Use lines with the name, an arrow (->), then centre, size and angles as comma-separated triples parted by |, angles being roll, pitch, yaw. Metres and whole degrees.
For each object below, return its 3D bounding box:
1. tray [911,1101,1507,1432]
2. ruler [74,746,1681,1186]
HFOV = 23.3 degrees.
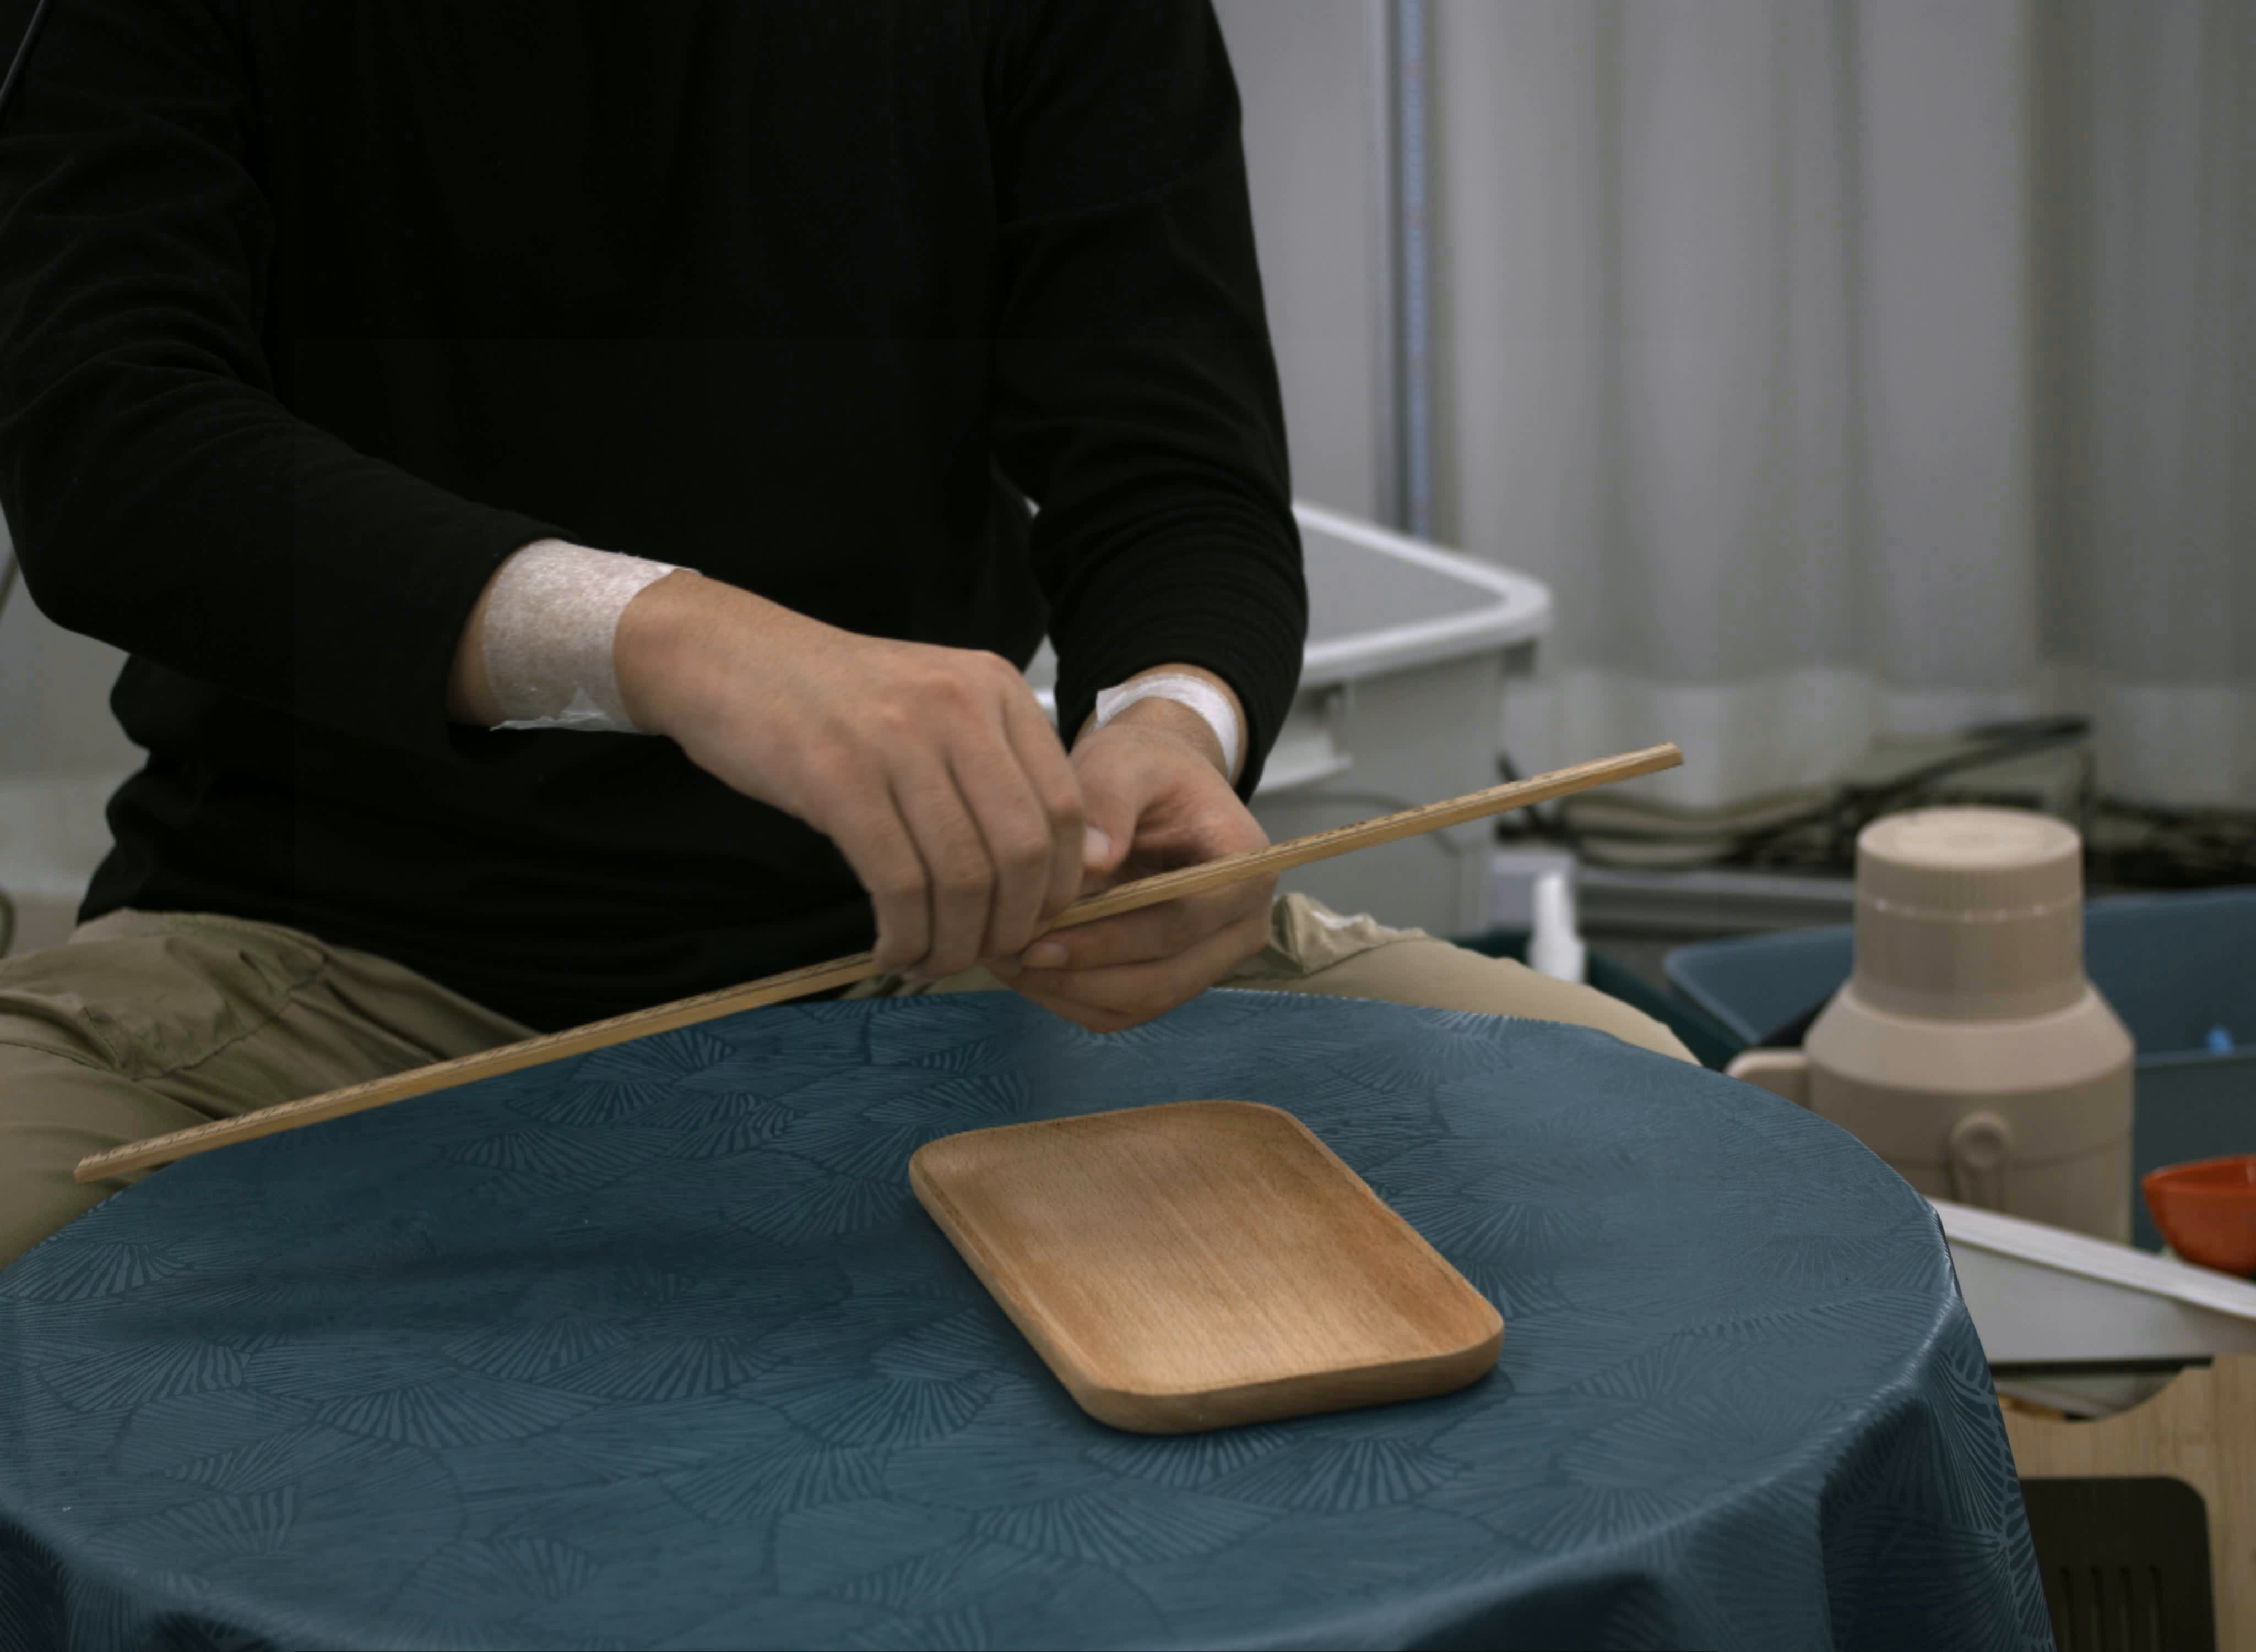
tray -> 0.020, 0.128, 1.628 | 0.130, 0.023, 0.252 | -4, 14, -14
ruler -> -0.076, 0.042, 1.651 | 0.499, 0.006, 0.027 | -15, 5, 1
